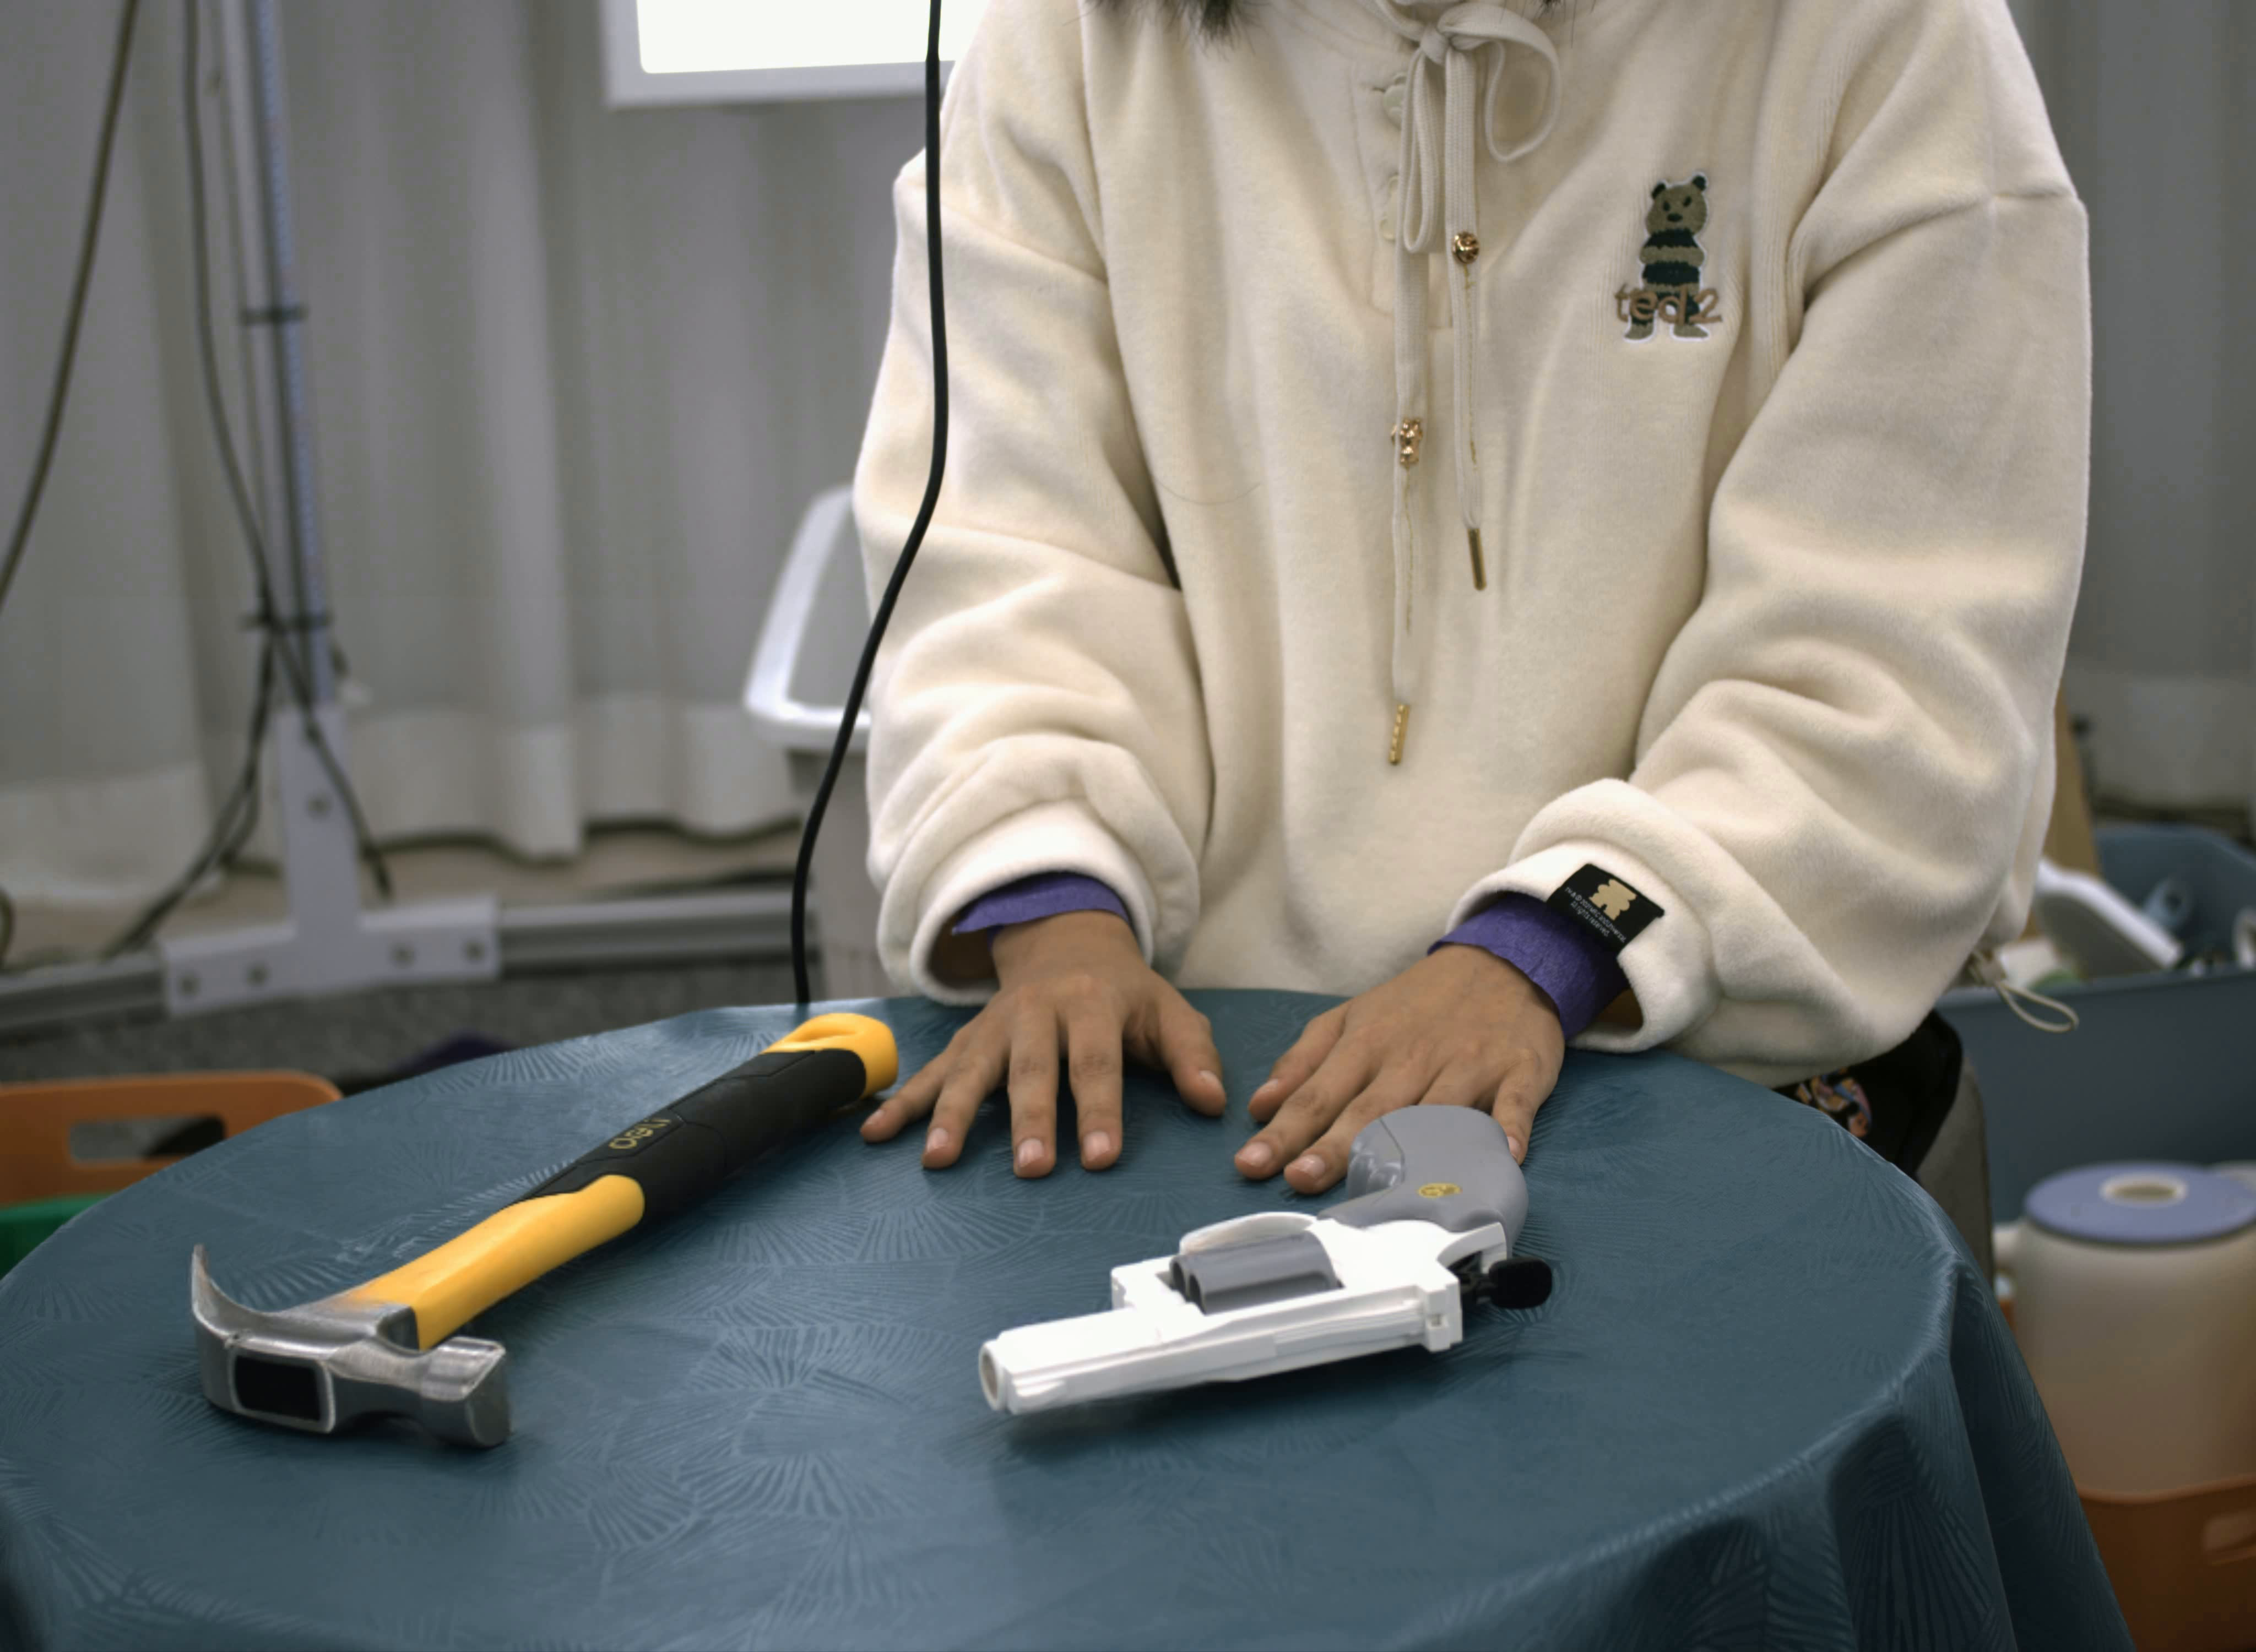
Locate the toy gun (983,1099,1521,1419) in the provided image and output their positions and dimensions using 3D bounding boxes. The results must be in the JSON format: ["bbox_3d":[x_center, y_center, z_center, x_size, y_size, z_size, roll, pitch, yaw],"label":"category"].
[{"bbox_3d":[0.040,0.127,1.585,0.208,0.038,0.143,-9,17,-21],"label":"toy gun"}]

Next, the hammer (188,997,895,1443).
[{"bbox_3d":[-0.166,0.113,1.683,0.131,0.032,0.339,2,17,27],"label":"hammer"}]
